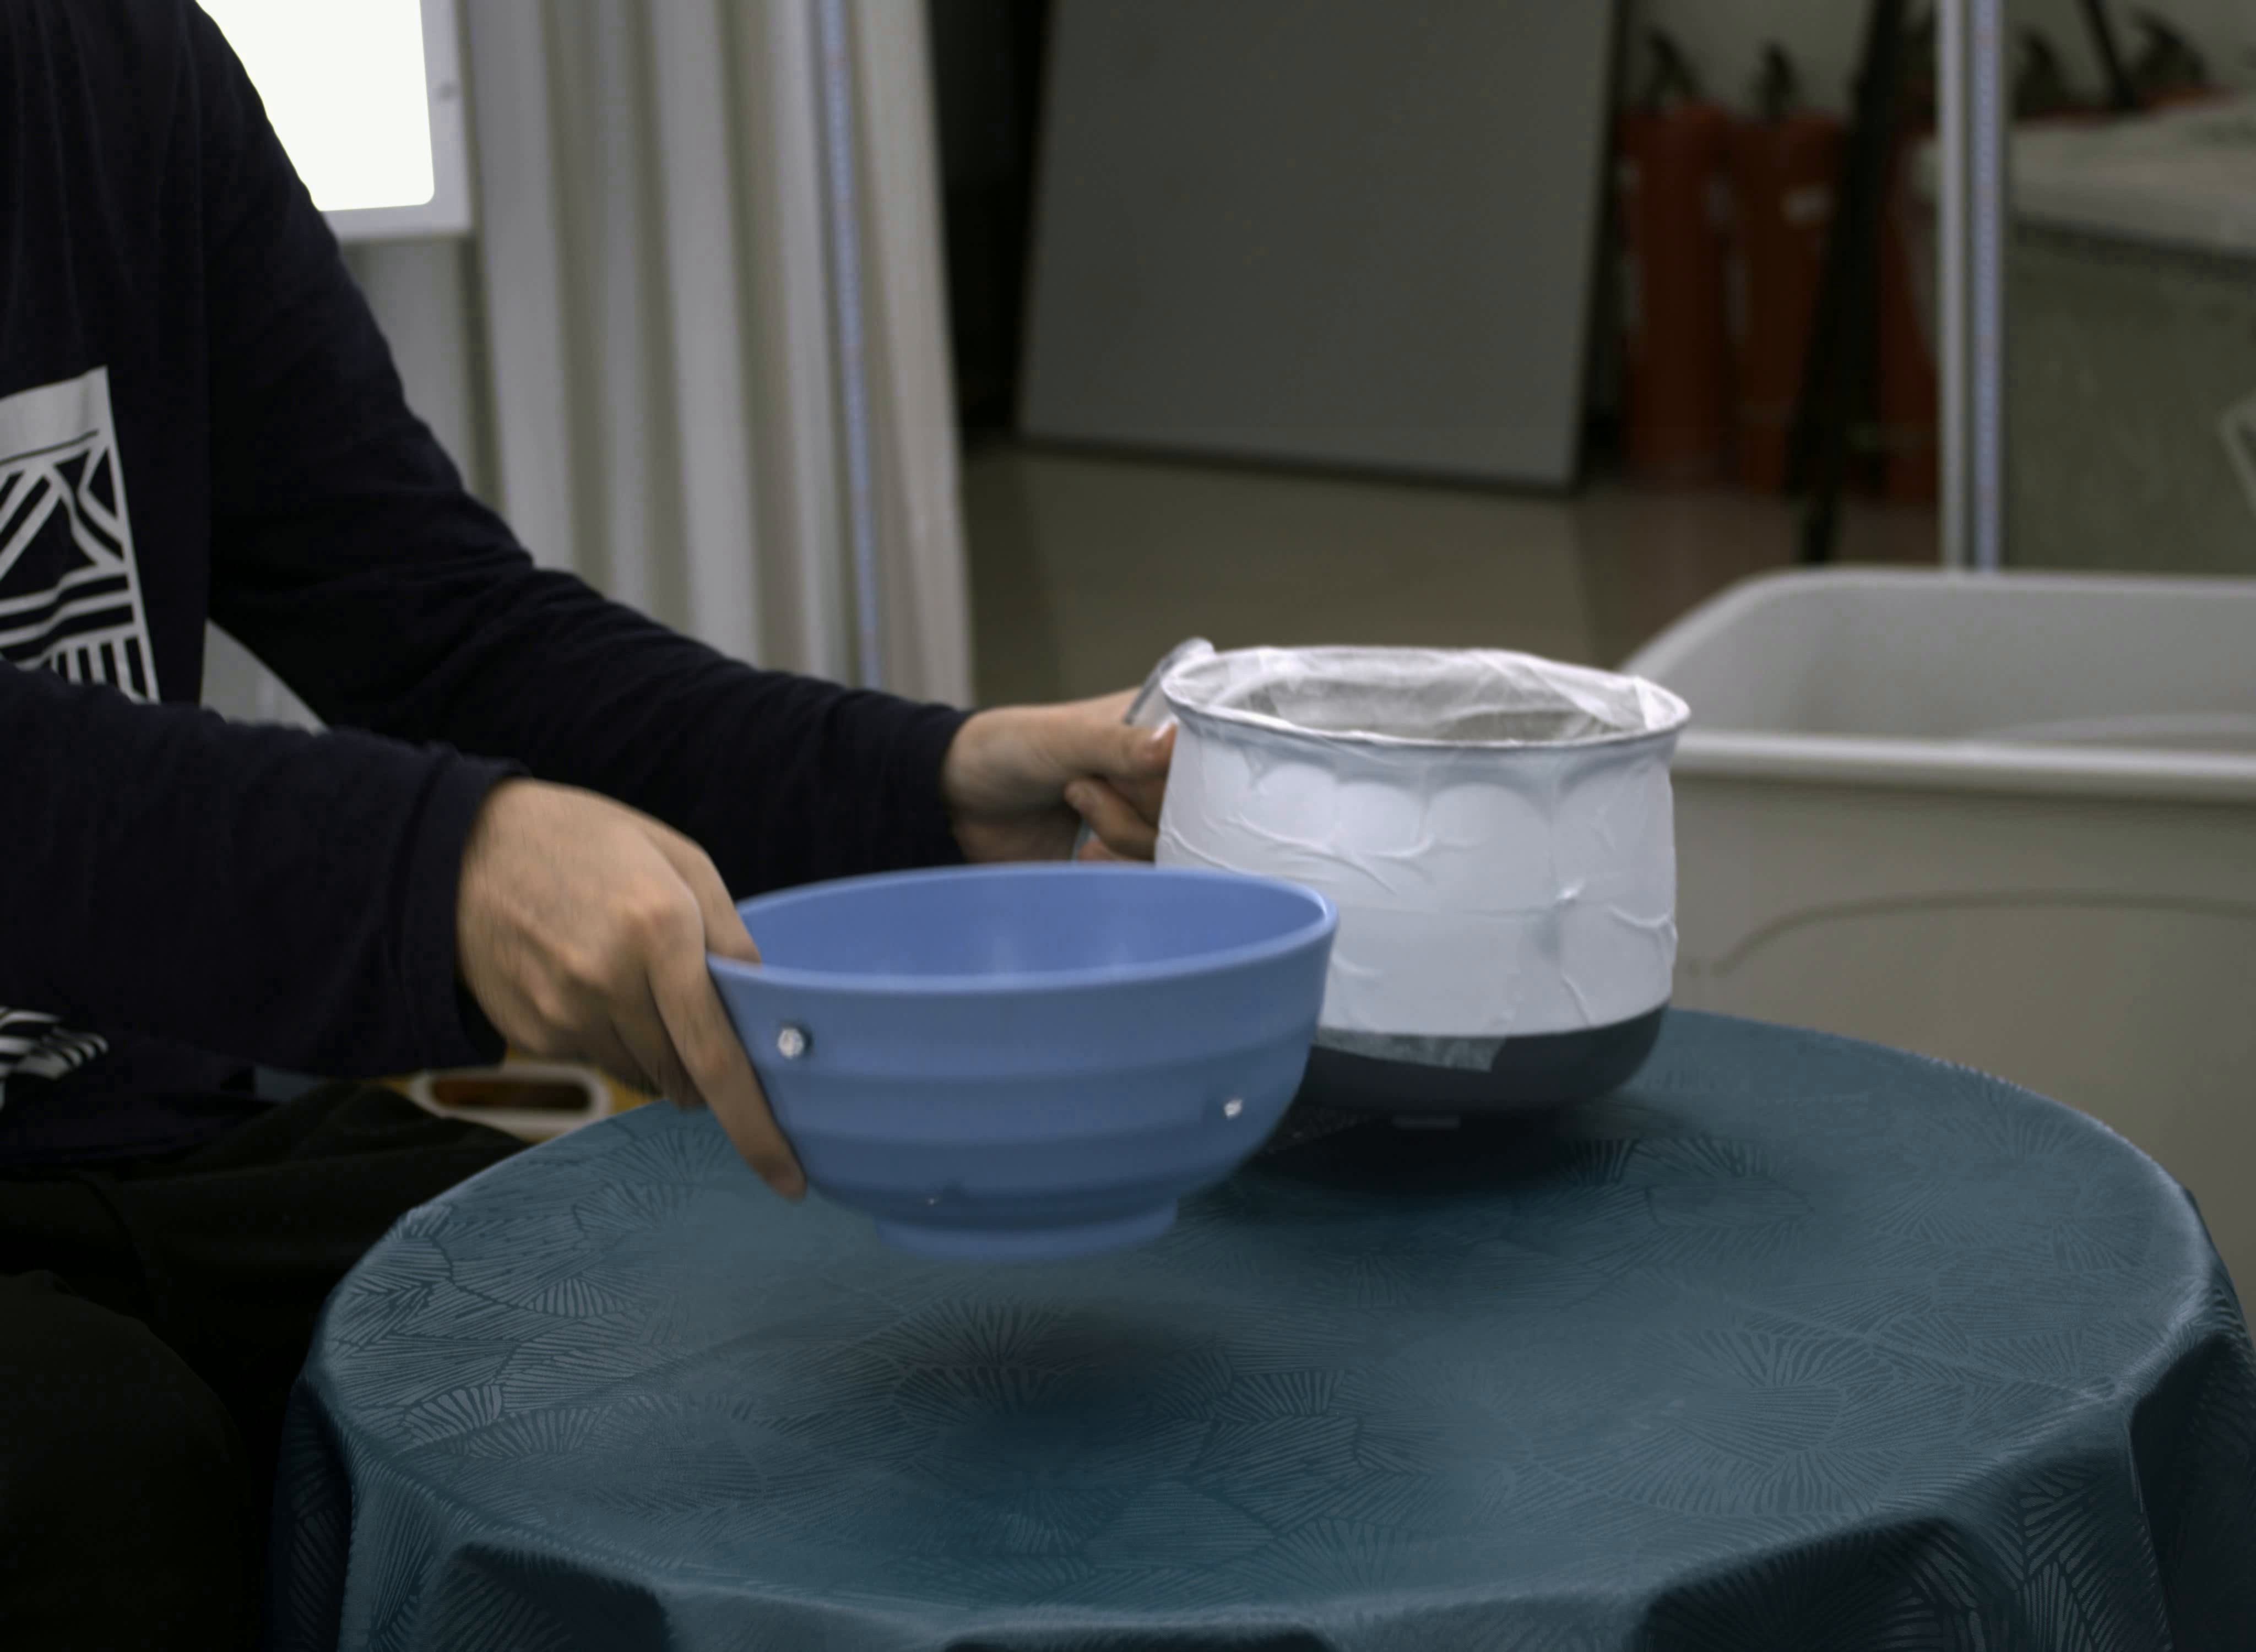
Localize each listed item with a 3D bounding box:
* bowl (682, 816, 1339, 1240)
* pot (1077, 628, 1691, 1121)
[{"bbox_3d":[-0.033,0.064,1.603,0.194,0.096,0.197,-2,13,0],"label":"bowl"},{"bbox_3d":[0.073,0.011,1.812,0.235,0.138,0.175,11,12,40],"label":"pot"}]
